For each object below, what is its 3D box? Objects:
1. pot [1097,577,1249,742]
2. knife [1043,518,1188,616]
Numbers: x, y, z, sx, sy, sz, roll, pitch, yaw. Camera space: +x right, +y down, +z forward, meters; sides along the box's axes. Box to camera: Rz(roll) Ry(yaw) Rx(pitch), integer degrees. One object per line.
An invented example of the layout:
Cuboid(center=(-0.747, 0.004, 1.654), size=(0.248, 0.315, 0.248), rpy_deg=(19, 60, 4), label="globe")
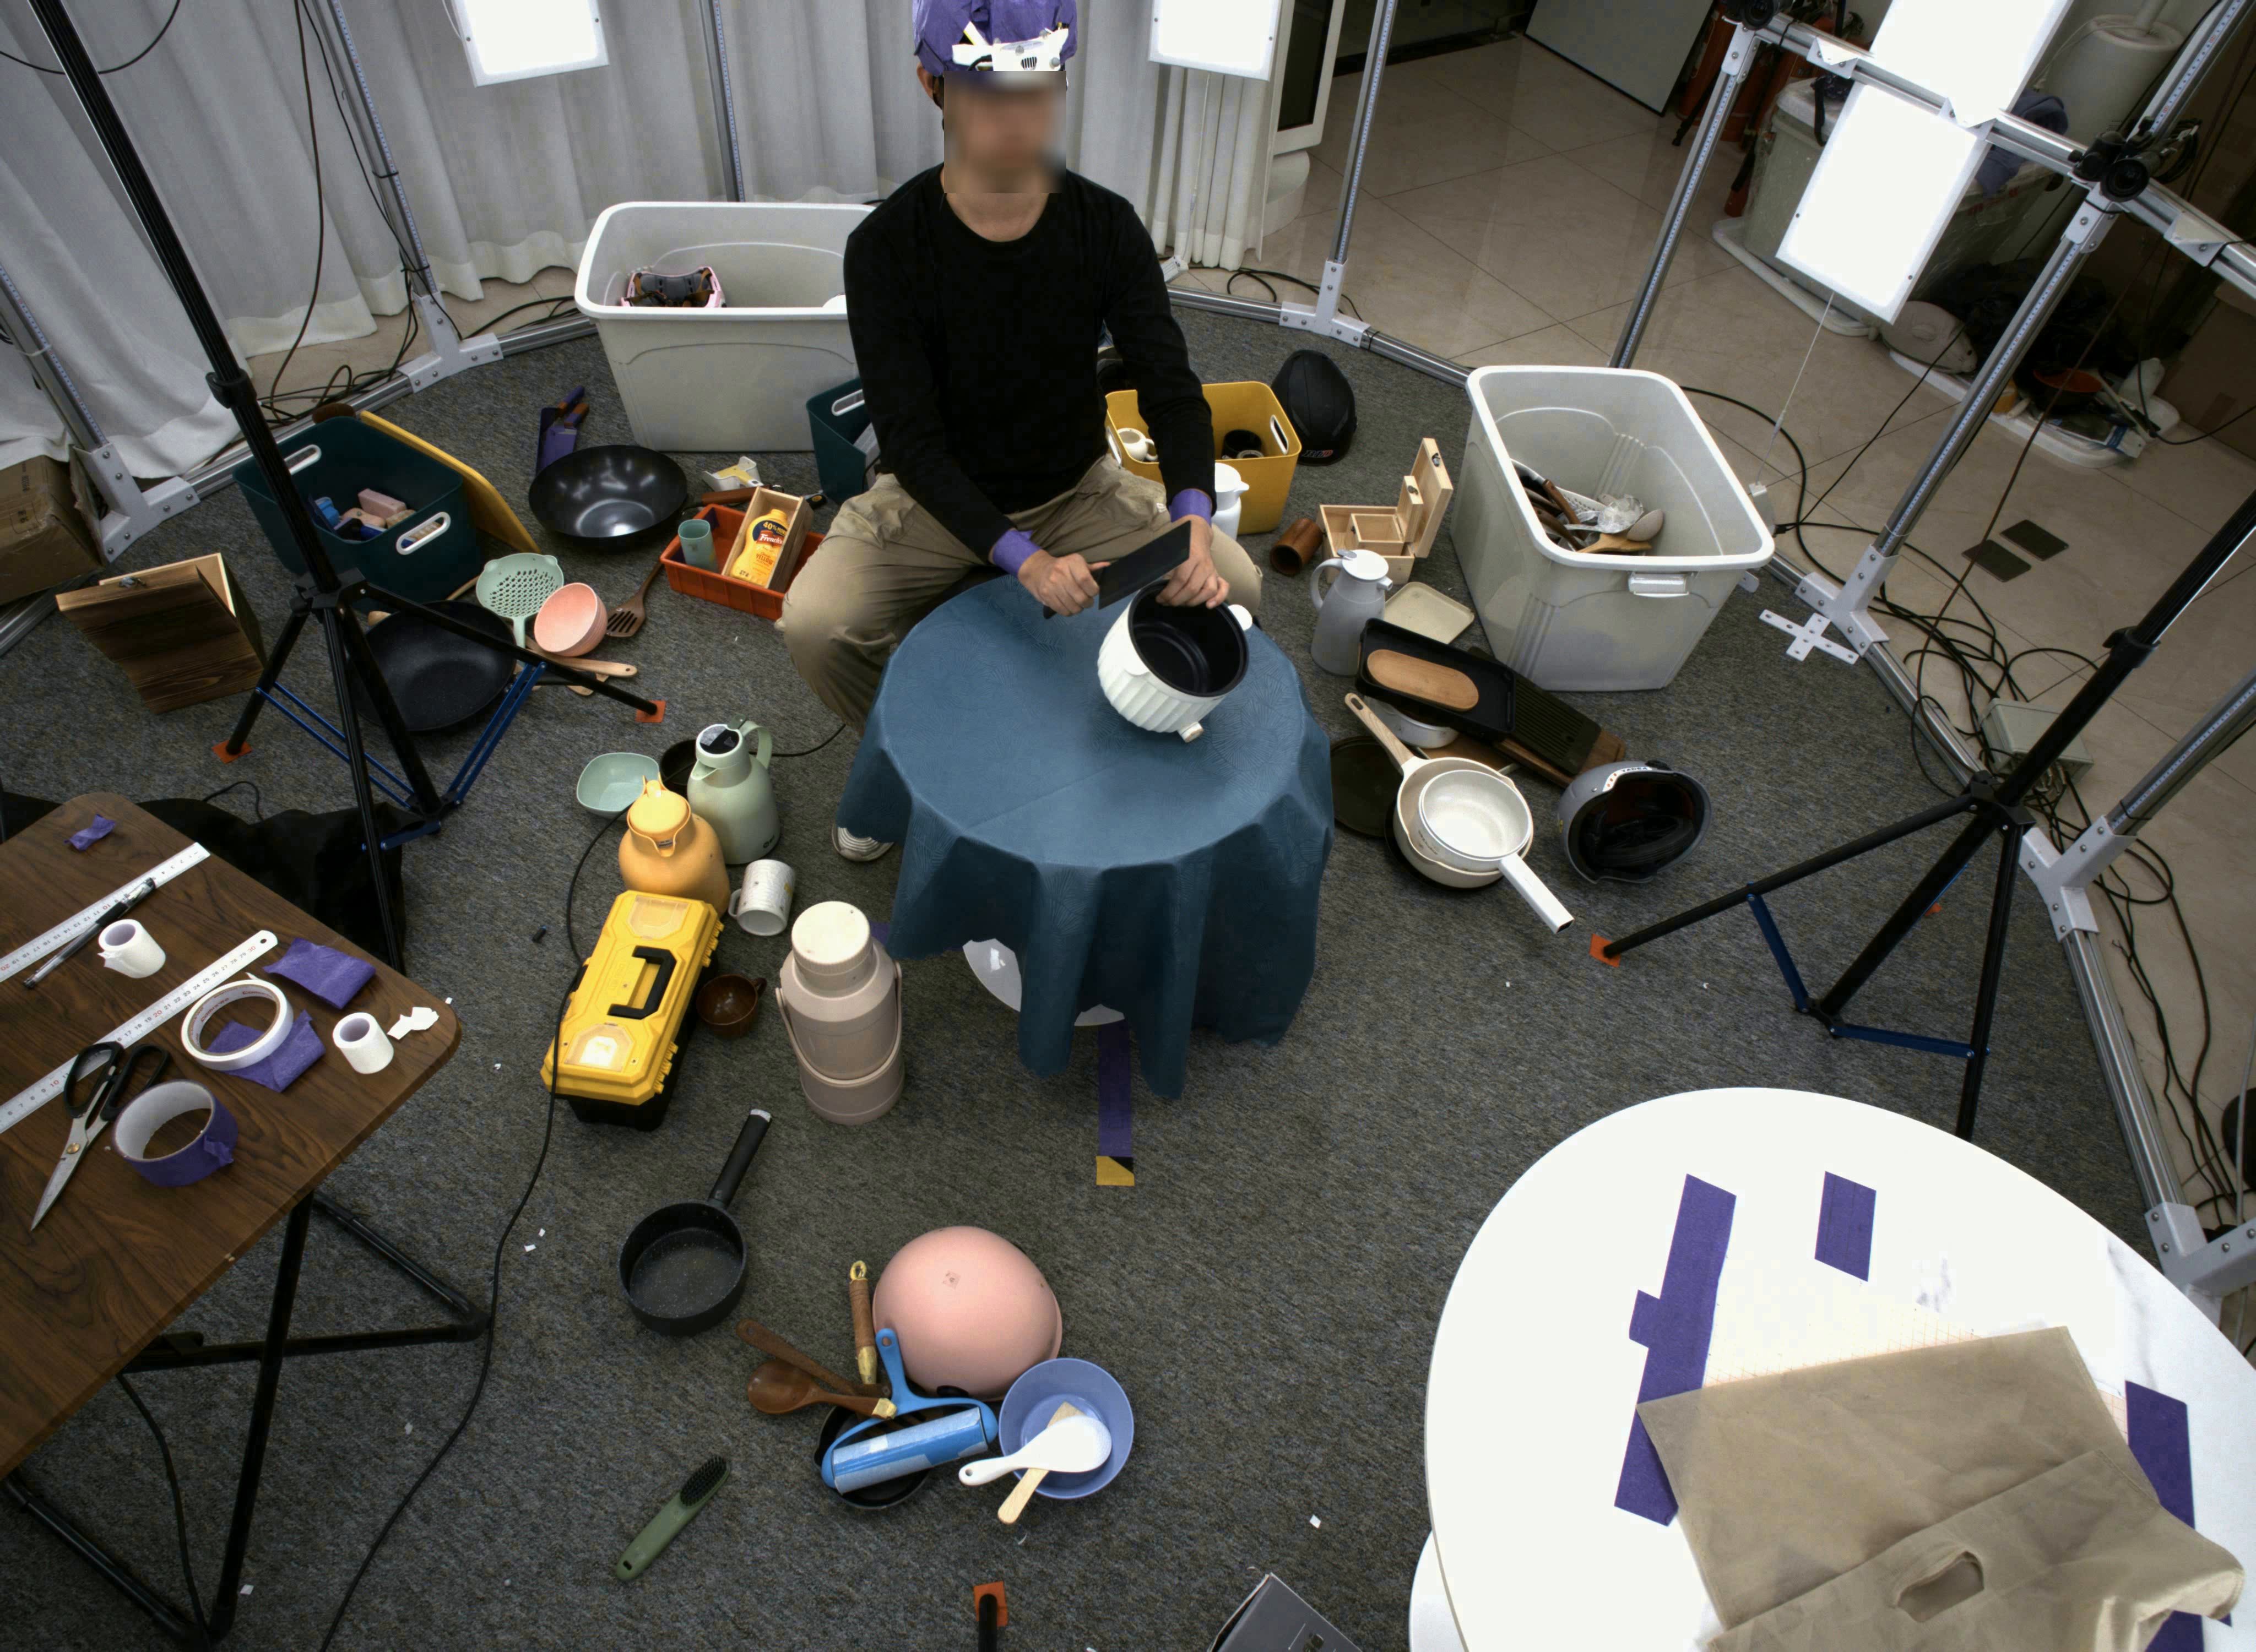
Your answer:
Cuboid(center=(0.056, -0.220, 1.753), size=(0.242, 0.140, 0.192), rpy_deg=(-28, 75, -34), label="pot")
Cuboid(center=(-0.021, -0.341, 1.763), size=(0.020, 0.302, 0.082), rpy_deg=(21, 69, -36), label="knife")
